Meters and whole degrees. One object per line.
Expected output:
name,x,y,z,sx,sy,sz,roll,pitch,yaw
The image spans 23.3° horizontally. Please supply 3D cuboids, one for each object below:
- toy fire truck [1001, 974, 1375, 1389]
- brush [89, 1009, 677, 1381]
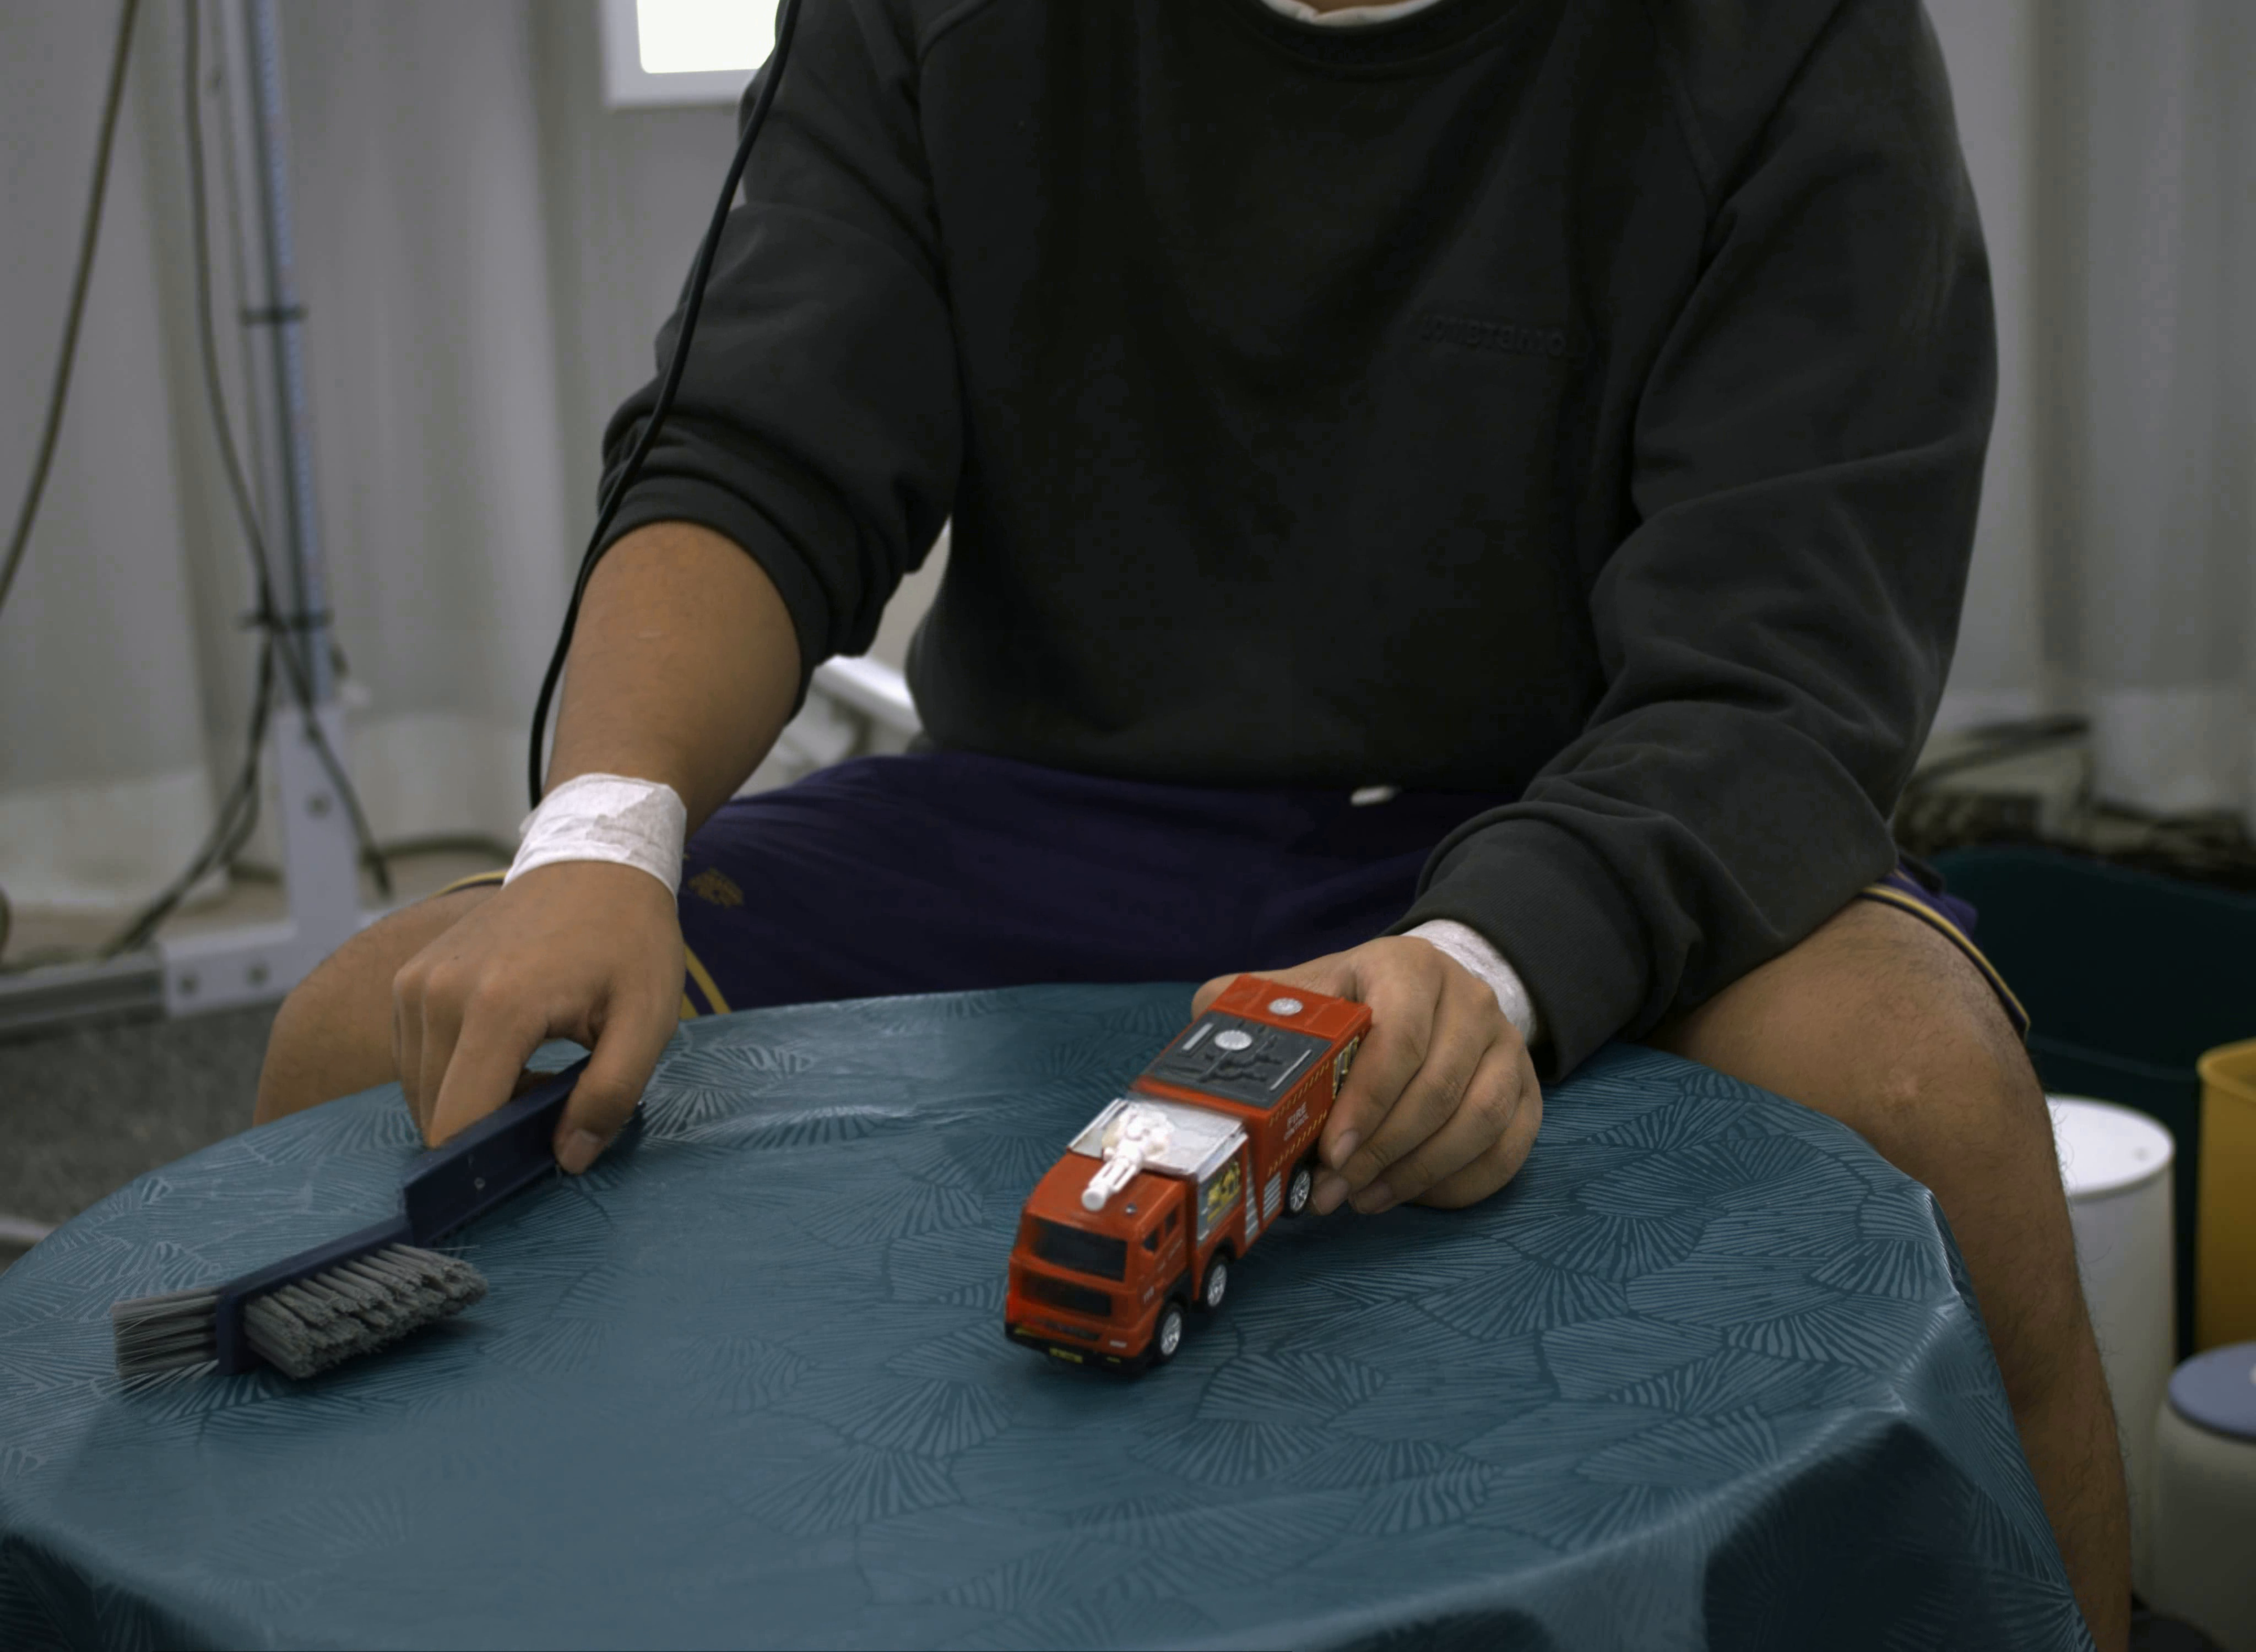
toy fire truck,0.019,0.102,1.607,0.054,0.070,0.169,13,28,23
brush,-0.220,0.113,1.703,0.095,0.033,0.274,1,16,17
